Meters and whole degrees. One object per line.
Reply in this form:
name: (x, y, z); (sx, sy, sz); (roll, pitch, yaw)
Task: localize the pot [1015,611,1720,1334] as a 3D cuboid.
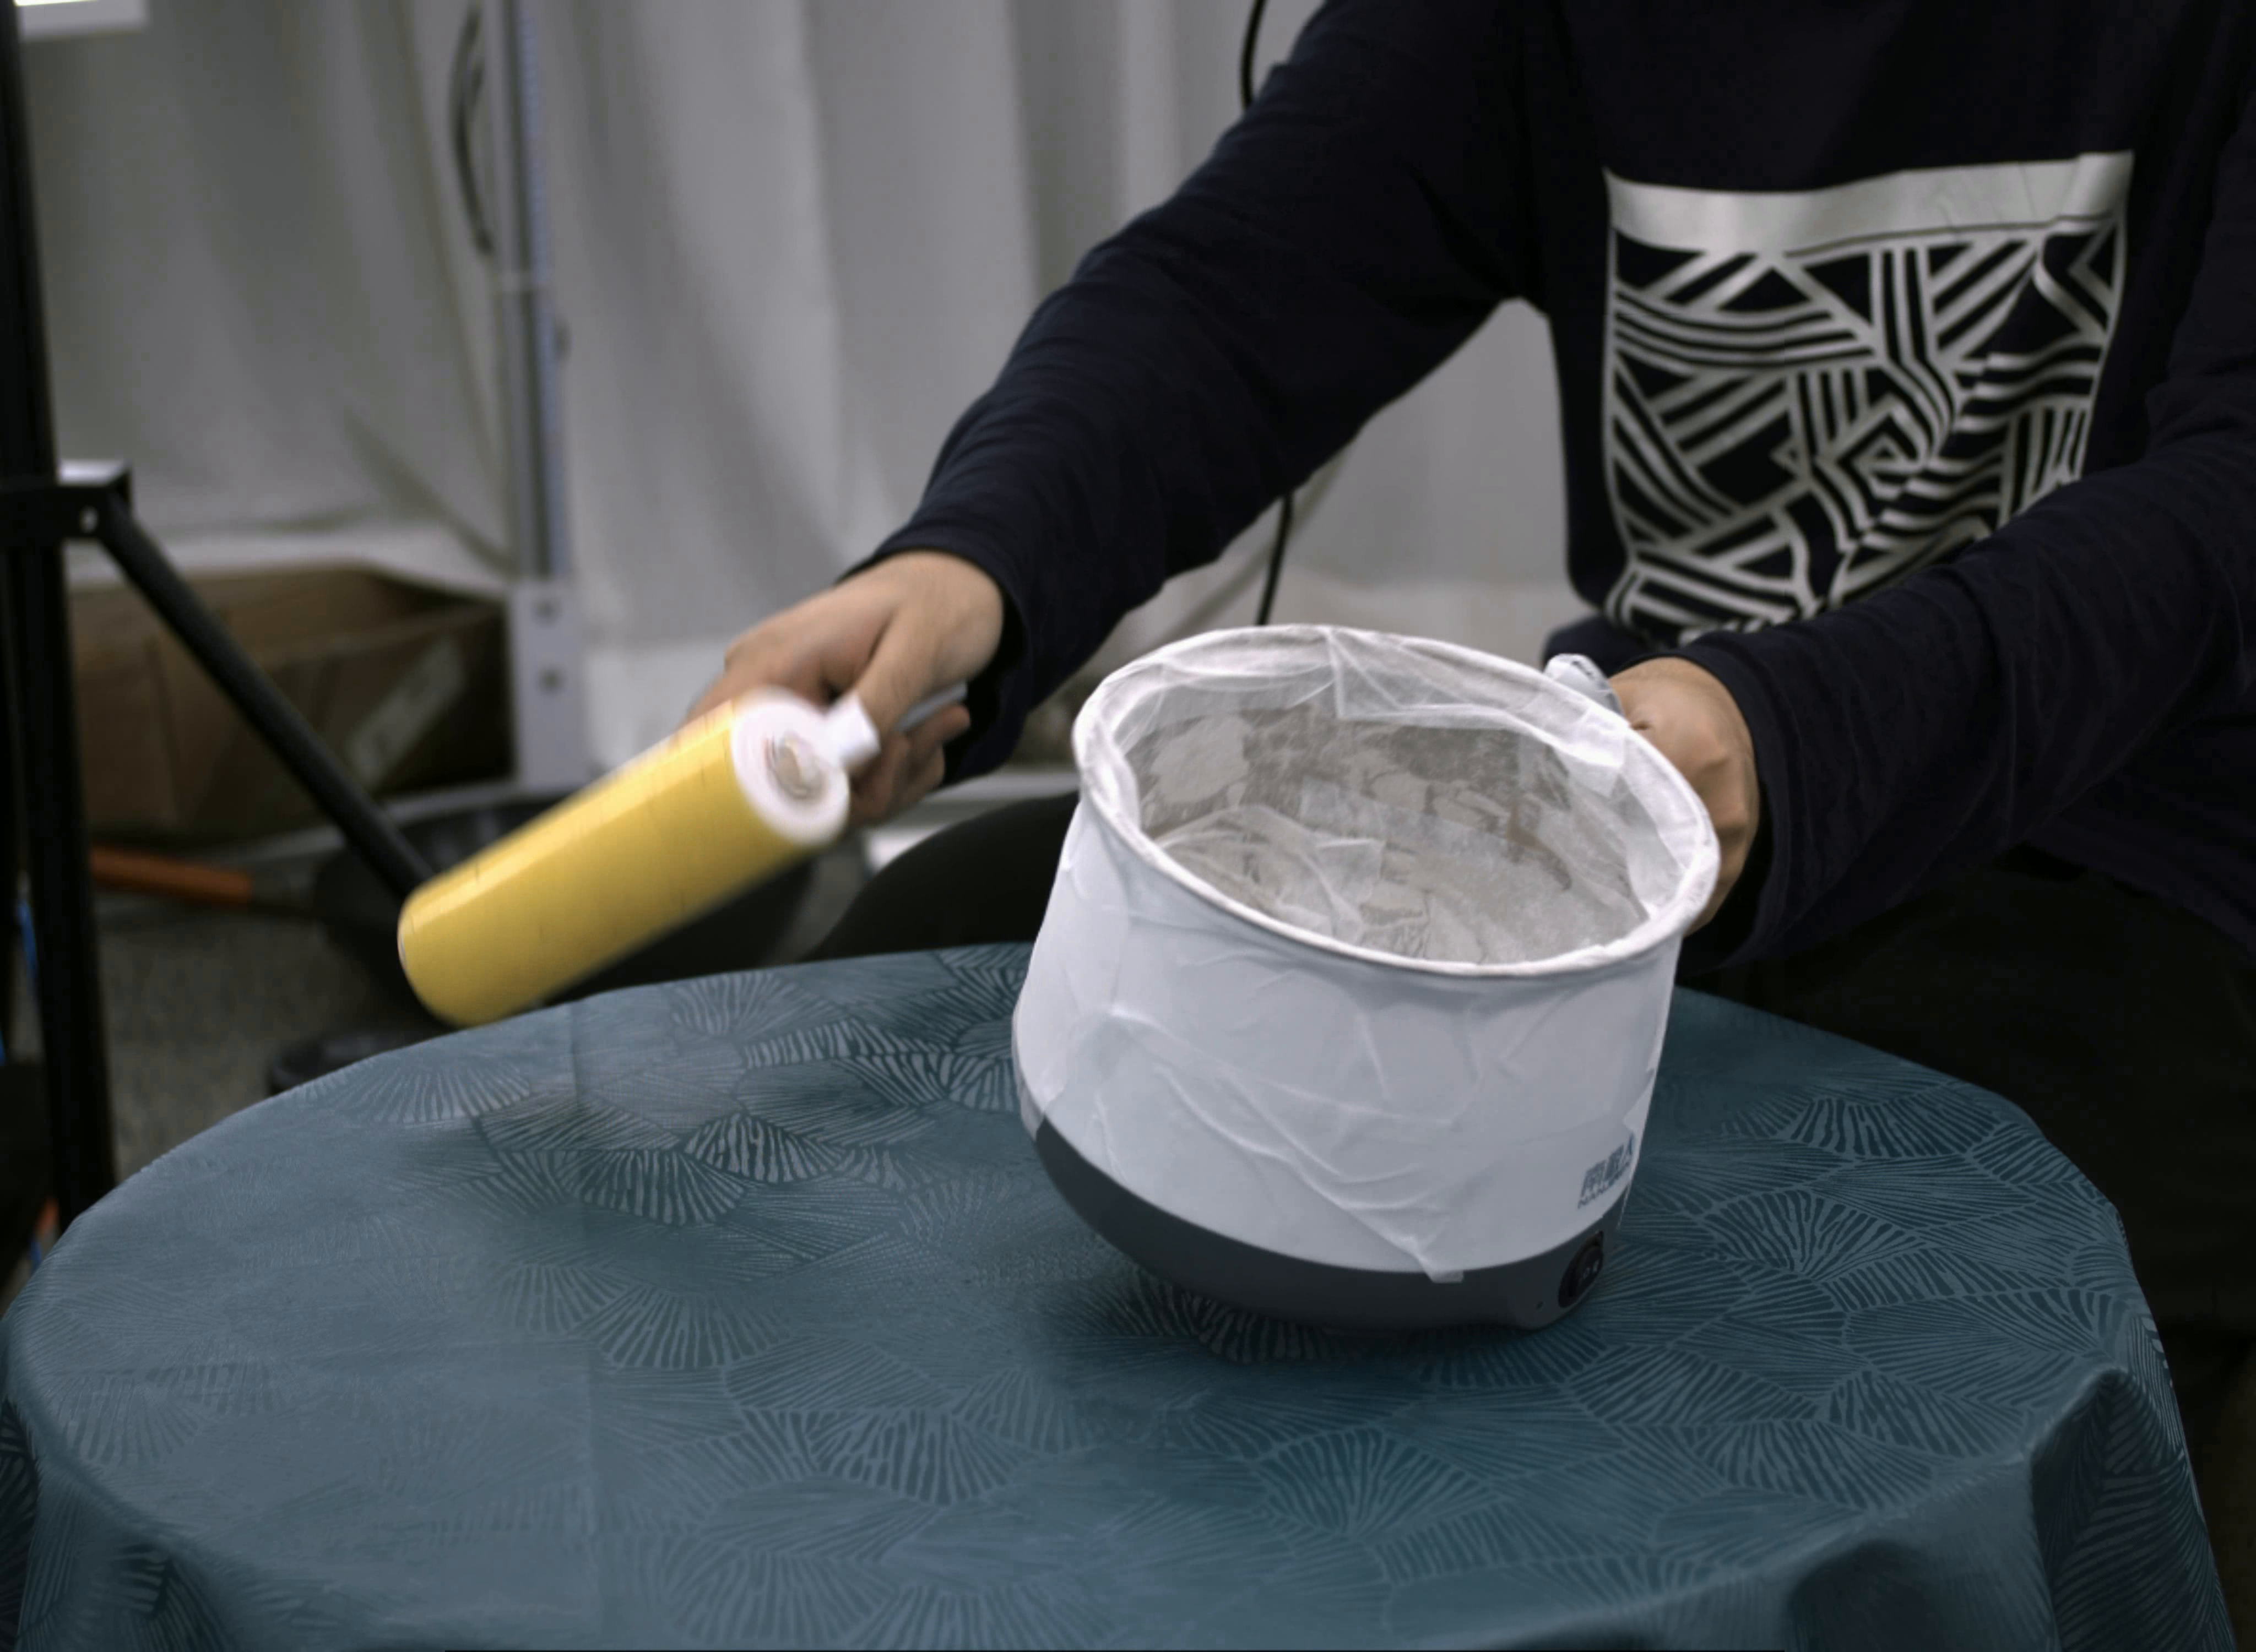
pot: (0.076, 0.032, 1.475); (0.181, 0.136, 0.230); (27, 35, 23)

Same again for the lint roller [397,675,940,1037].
lint roller: (-0.120, -0.015, 1.658); (0.177, 0.051, 0.190); (-27, 13, 39)
